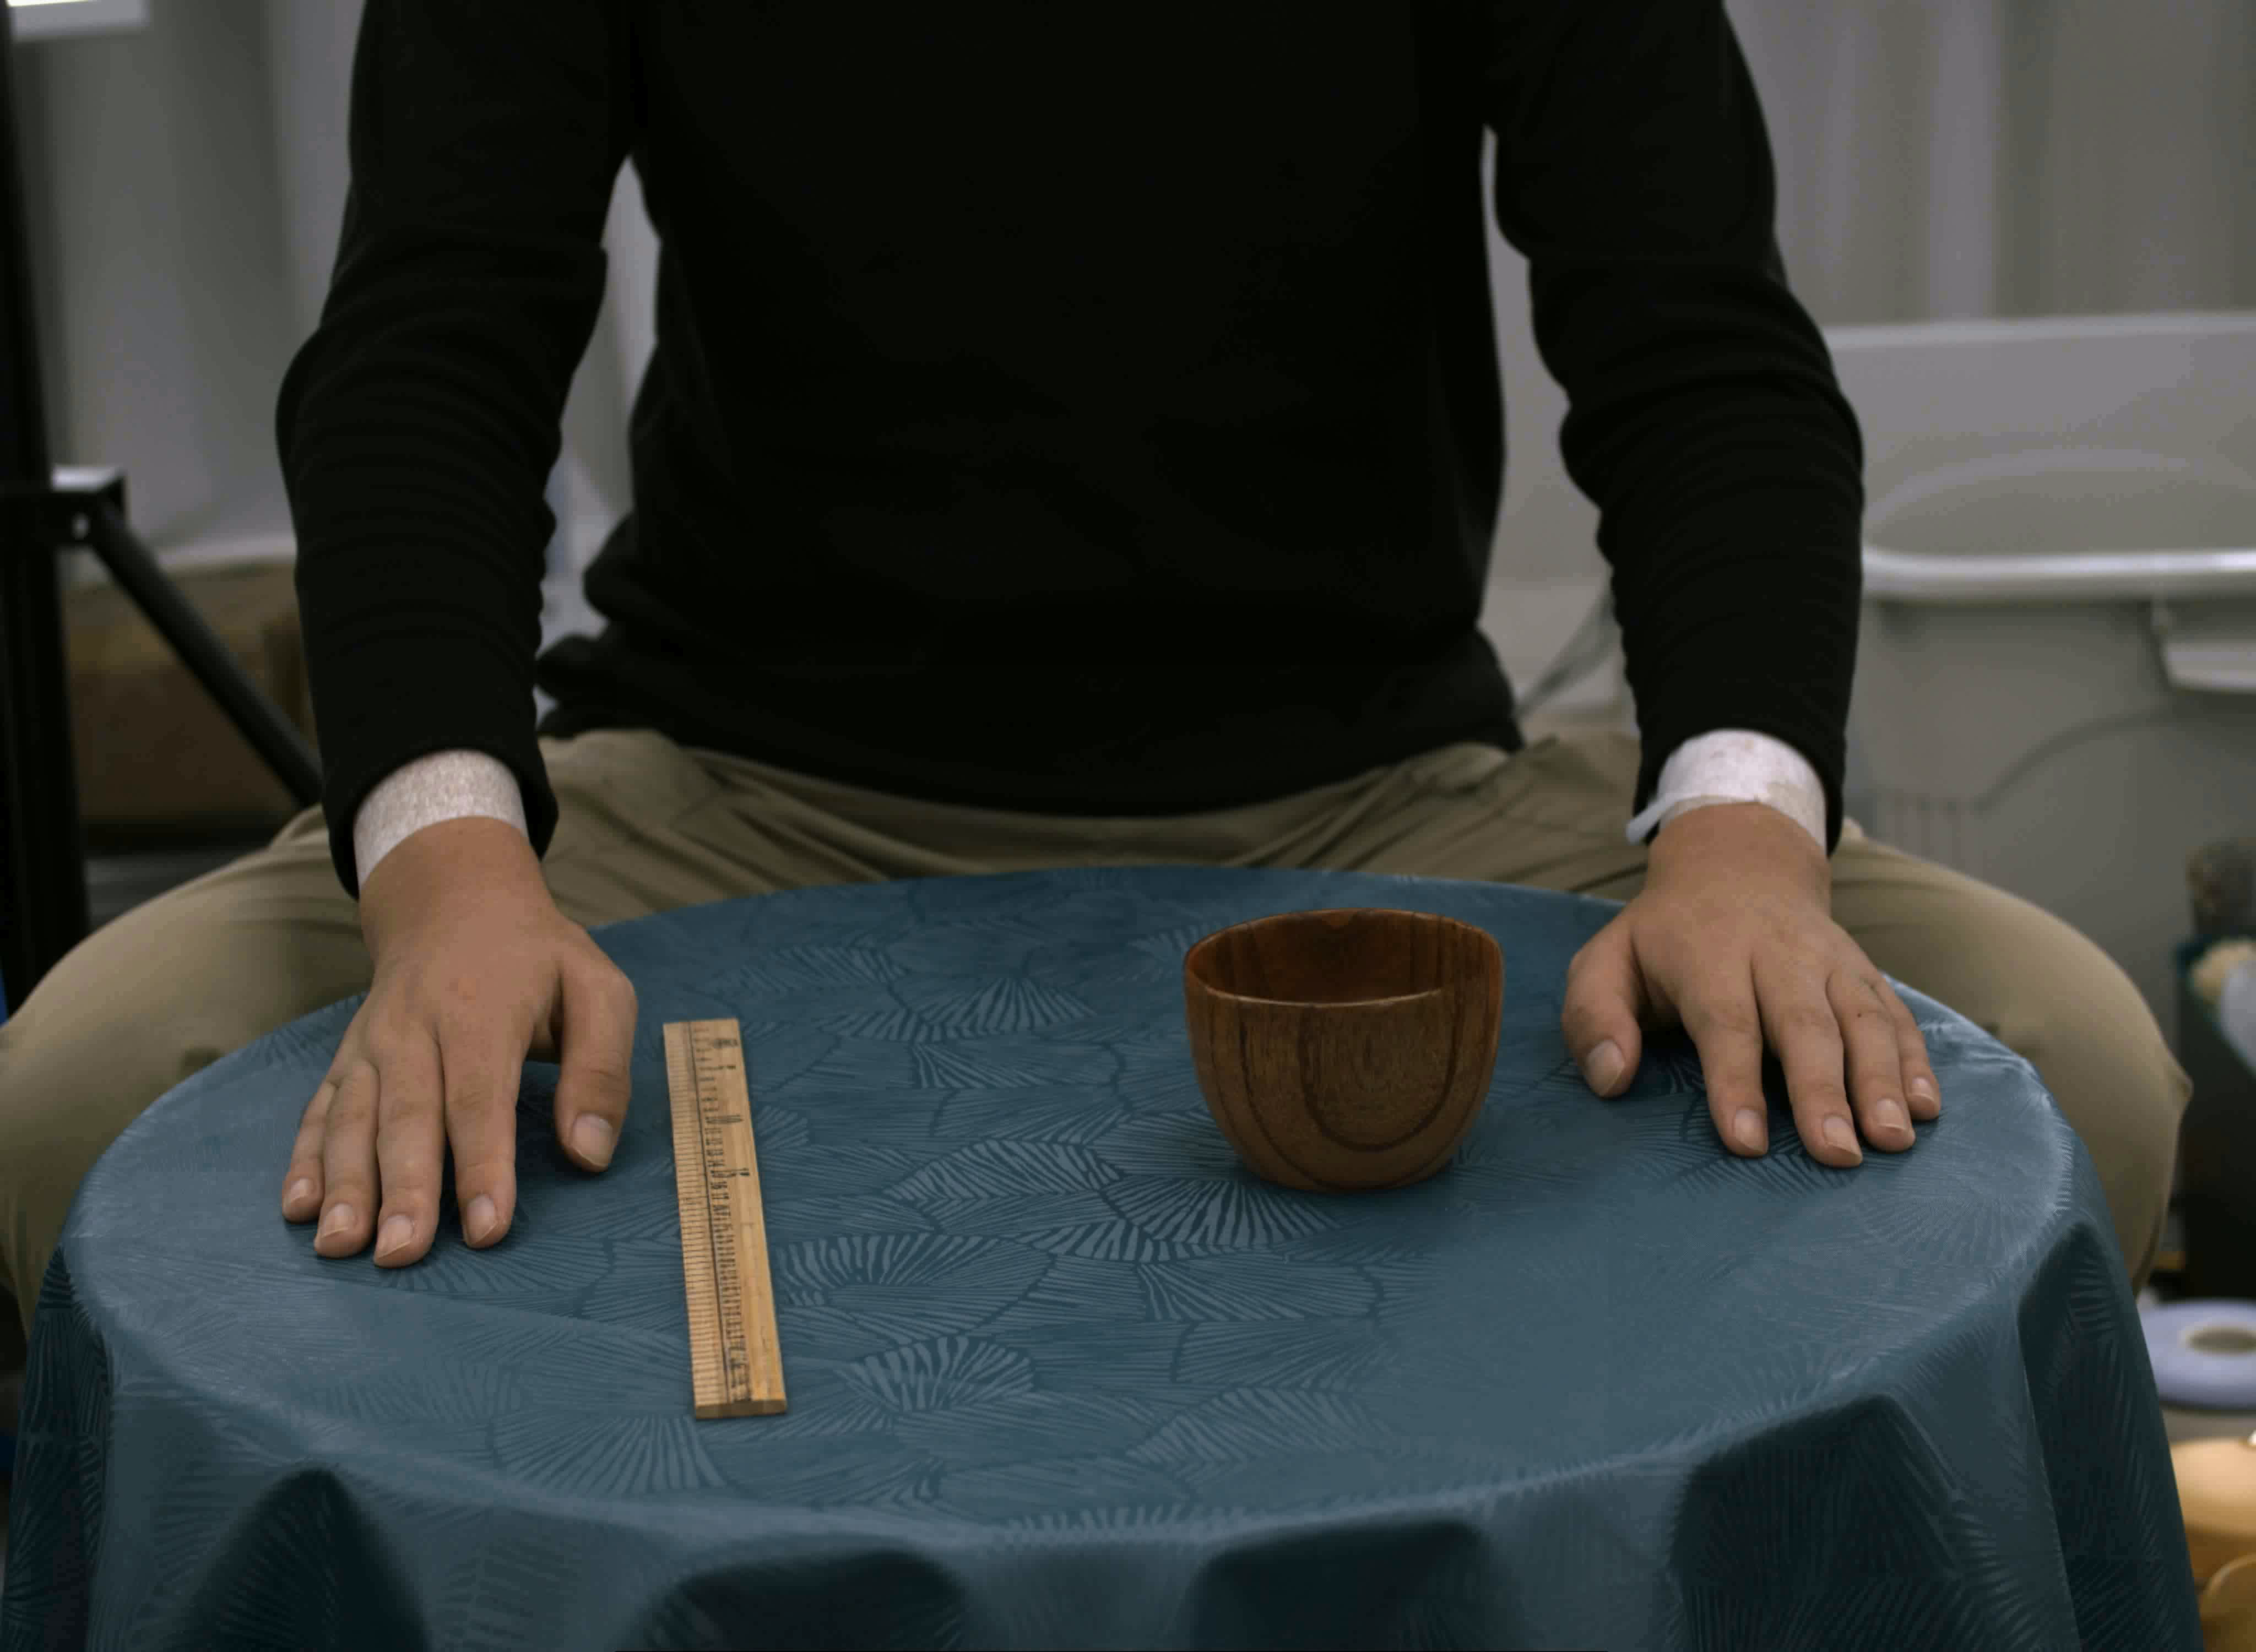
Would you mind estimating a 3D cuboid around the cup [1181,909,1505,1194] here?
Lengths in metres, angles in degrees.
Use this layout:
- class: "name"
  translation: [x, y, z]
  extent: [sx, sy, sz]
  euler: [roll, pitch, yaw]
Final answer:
- class: "cup"
  translation: [0.065, 0.066, 1.578]
  extent: [0.096, 0.068, 0.120]
  euler: [-4, 14, 1]

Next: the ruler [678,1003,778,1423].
- class: "ruler"
  translation: [-0.118, 0.106, 1.564]
  extent: [0.027, 0.022, 0.334]
  euler: [1, 16, -5]
